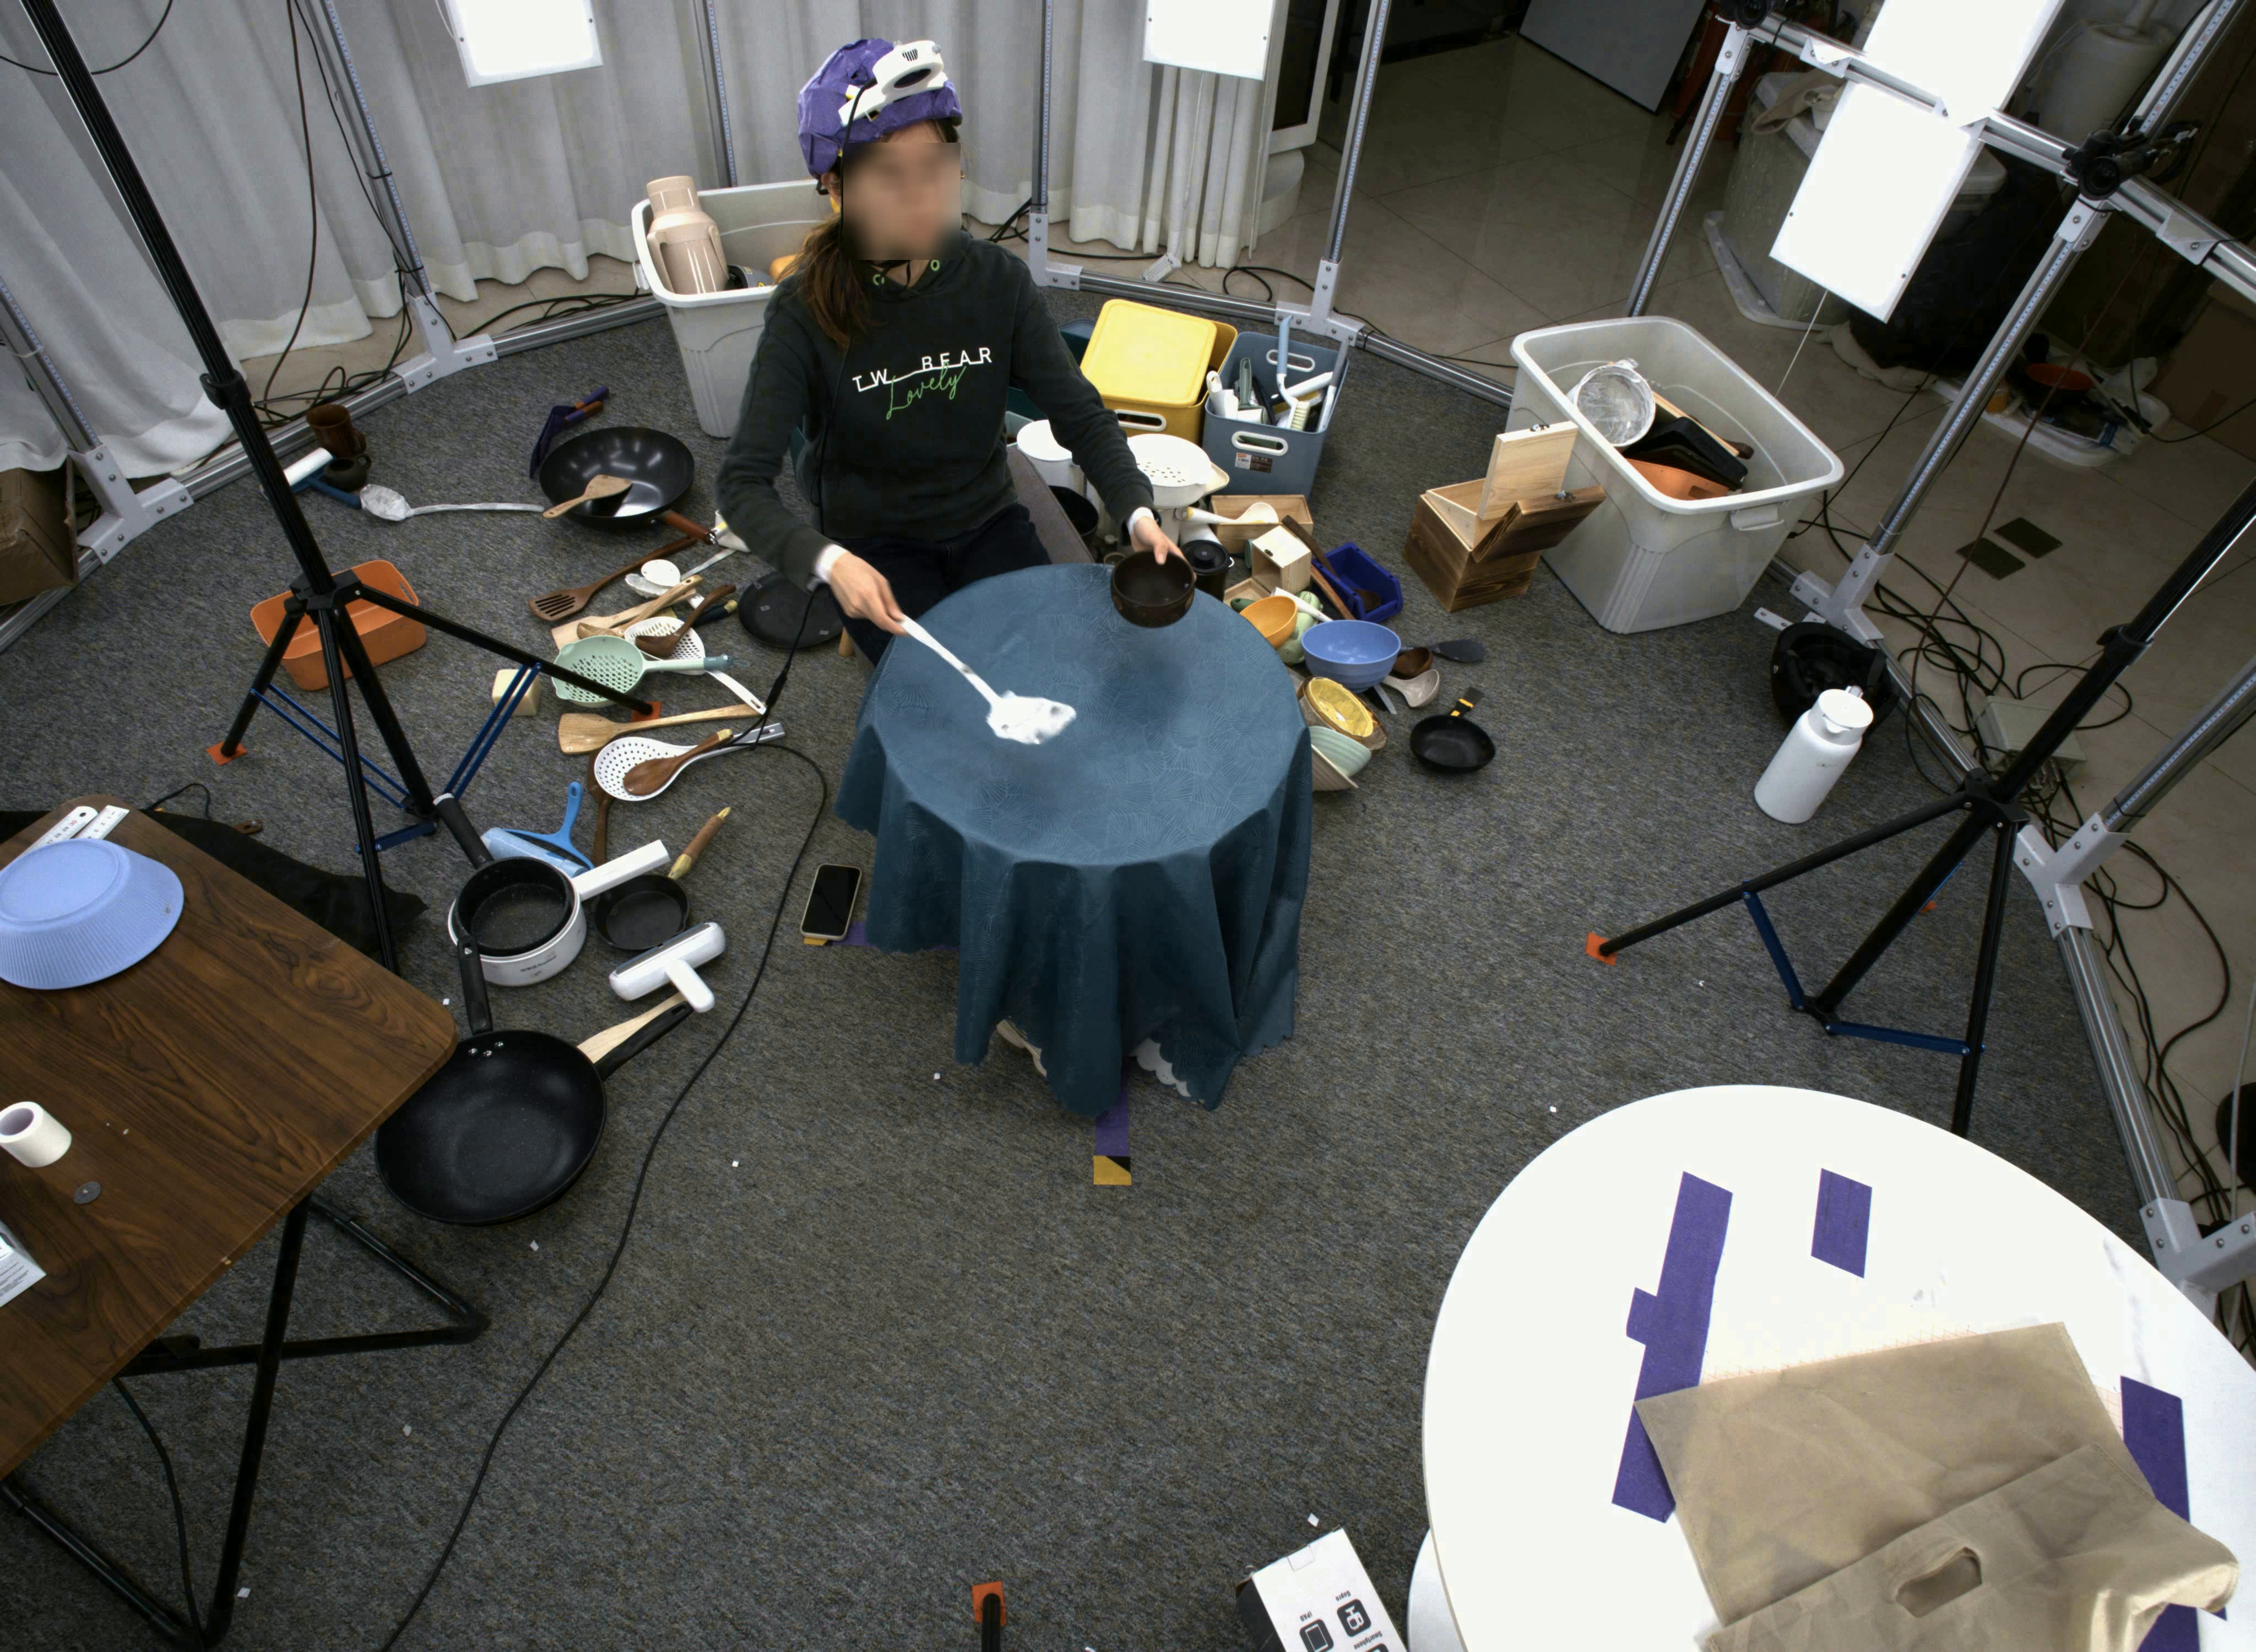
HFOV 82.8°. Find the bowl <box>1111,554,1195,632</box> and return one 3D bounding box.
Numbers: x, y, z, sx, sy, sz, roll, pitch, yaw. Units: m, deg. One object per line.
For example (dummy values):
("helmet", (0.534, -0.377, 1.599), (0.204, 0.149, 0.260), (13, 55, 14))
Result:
("bowl", (0.034, -0.319, 1.807), (0.118, 0.068, 0.121), (0, 51, 0))

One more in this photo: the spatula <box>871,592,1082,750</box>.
("spatula", (-0.218, -0.215, 1.699), (0.369, 0.044, 0.100), (40, 55, 17))
